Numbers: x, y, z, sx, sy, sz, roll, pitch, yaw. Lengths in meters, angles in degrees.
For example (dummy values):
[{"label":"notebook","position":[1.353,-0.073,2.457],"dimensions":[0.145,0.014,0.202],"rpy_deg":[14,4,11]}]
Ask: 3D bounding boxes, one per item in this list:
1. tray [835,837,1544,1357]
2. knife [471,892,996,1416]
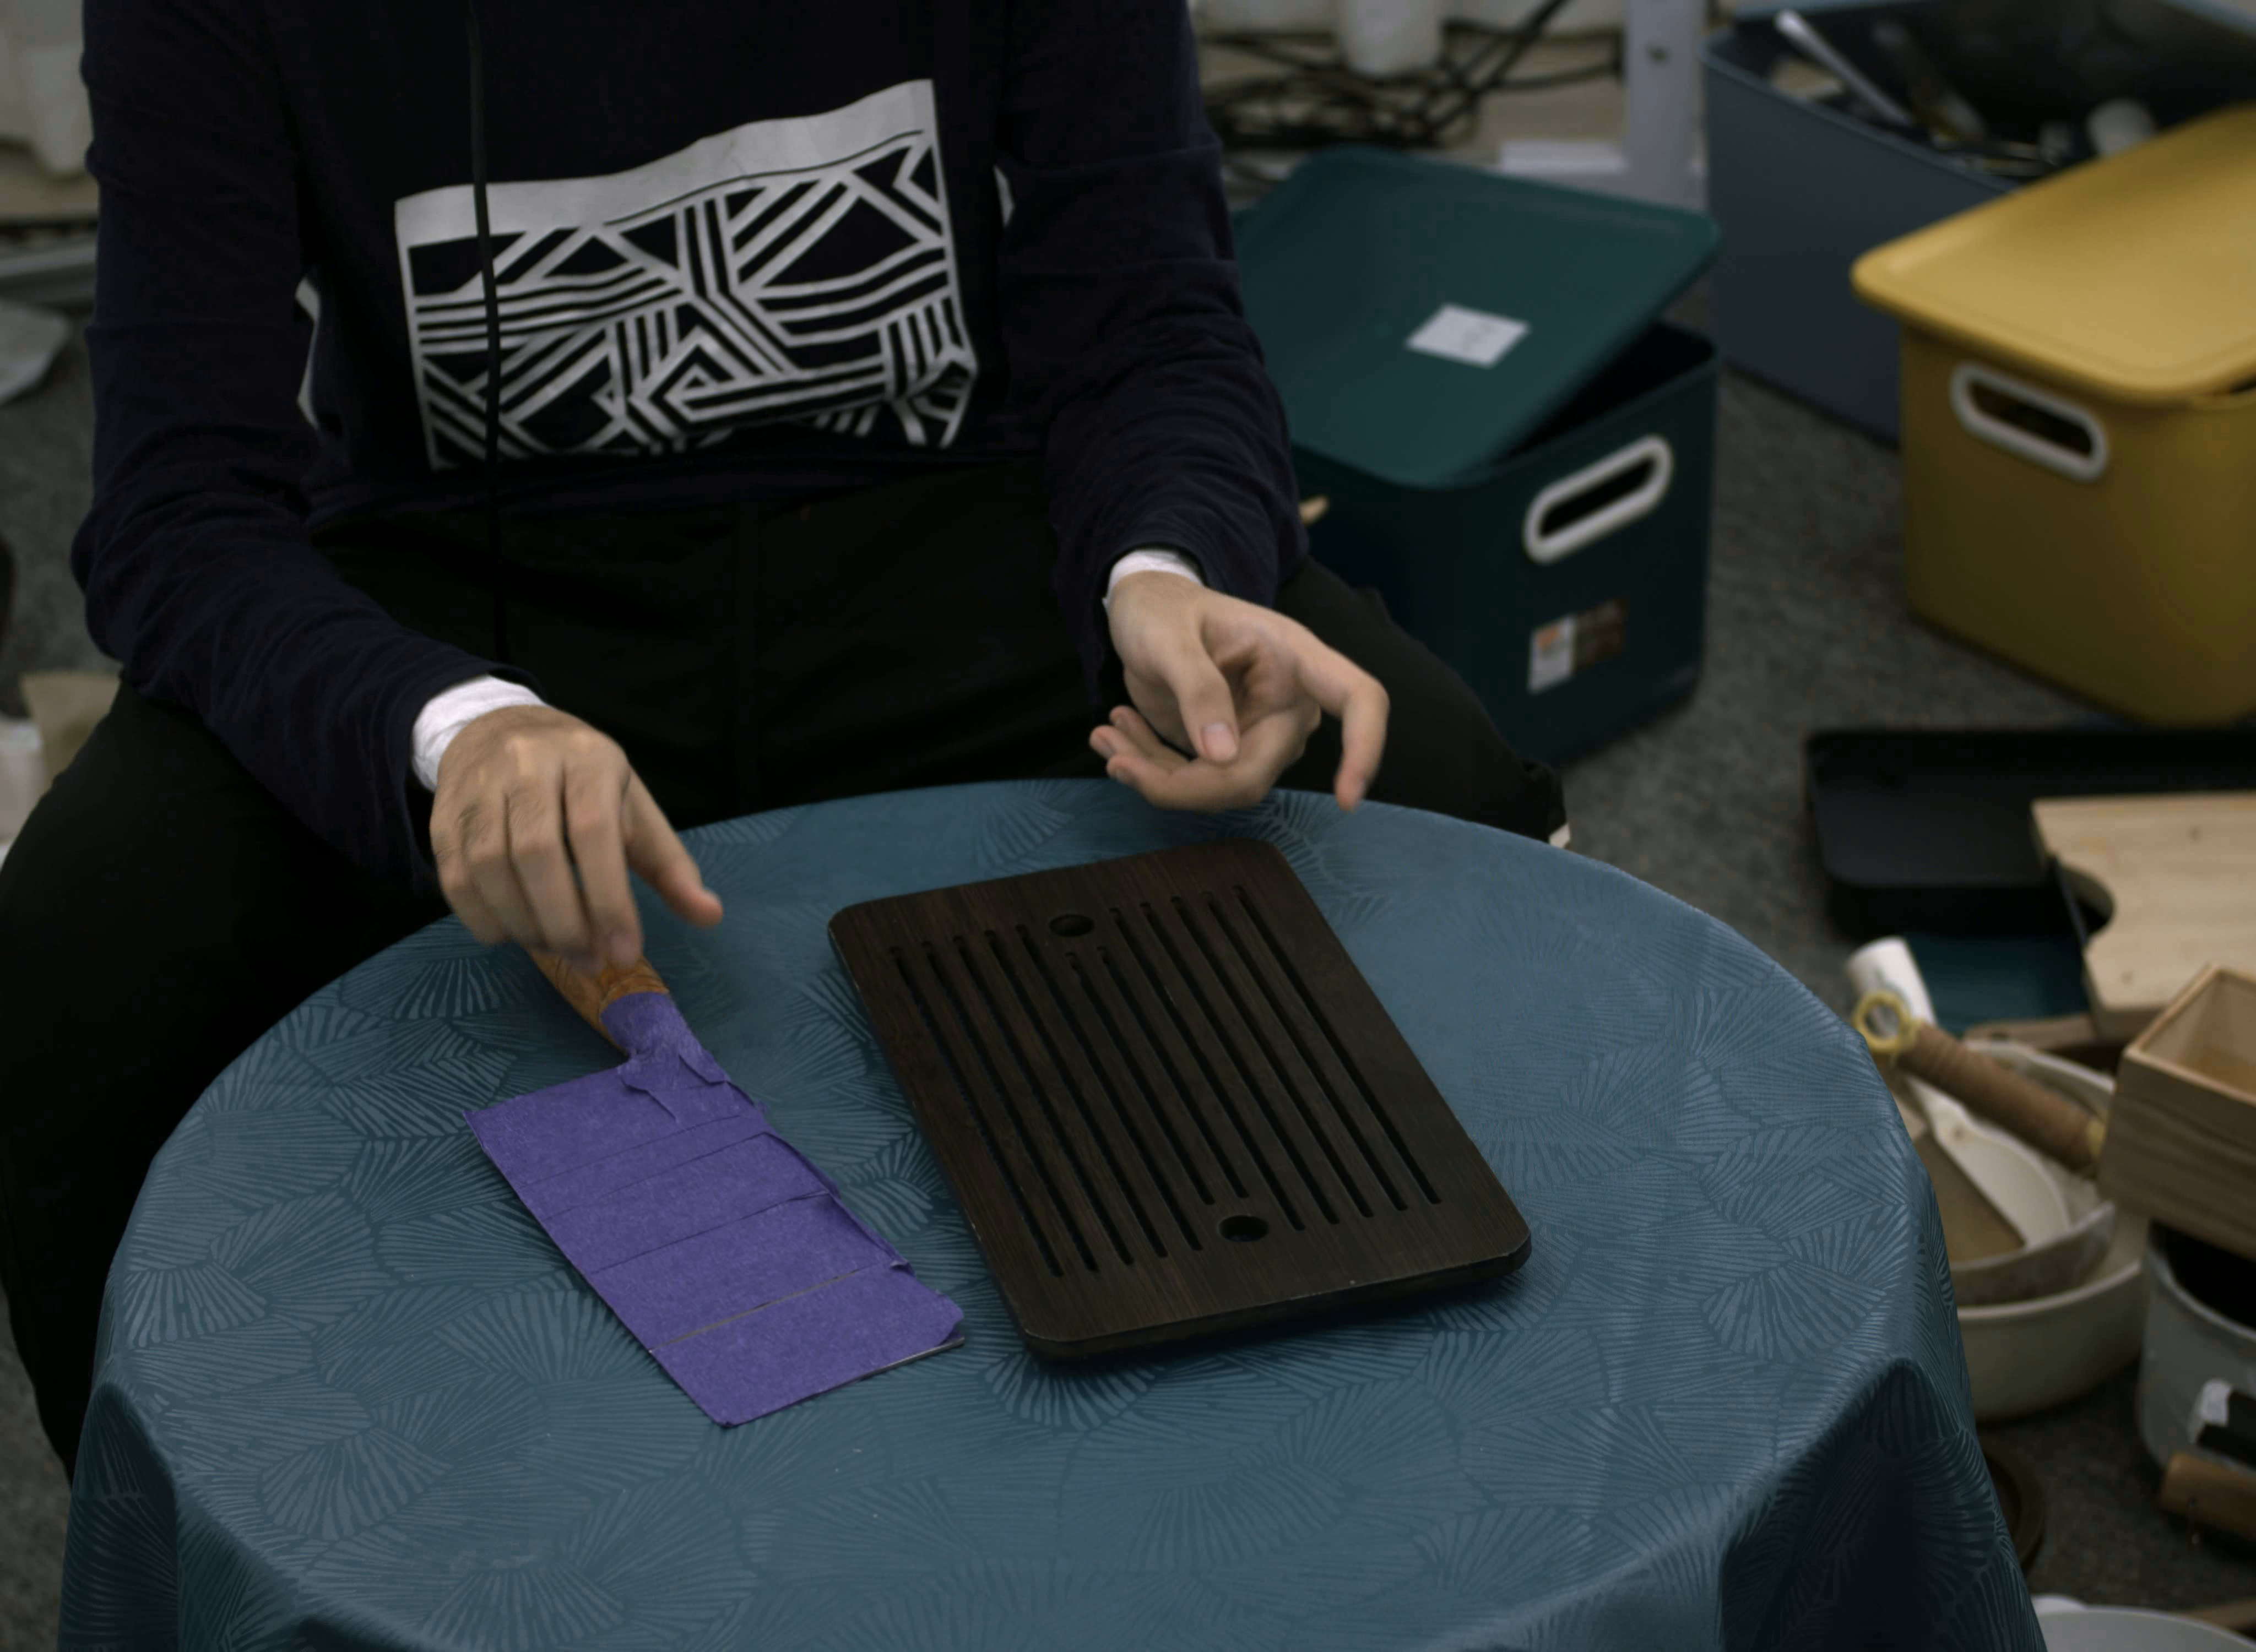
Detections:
[{"label":"tray","position":[0.014,0.088,1.904],"dimensions":[0.170,0.018,0.309],"rpy_deg":[-10,28,-13]},{"label":"knife","position":[-0.162,0.106,1.879],"dimensions":[0.104,0.032,0.317],"rpy_deg":[-16,31,-25]}]
